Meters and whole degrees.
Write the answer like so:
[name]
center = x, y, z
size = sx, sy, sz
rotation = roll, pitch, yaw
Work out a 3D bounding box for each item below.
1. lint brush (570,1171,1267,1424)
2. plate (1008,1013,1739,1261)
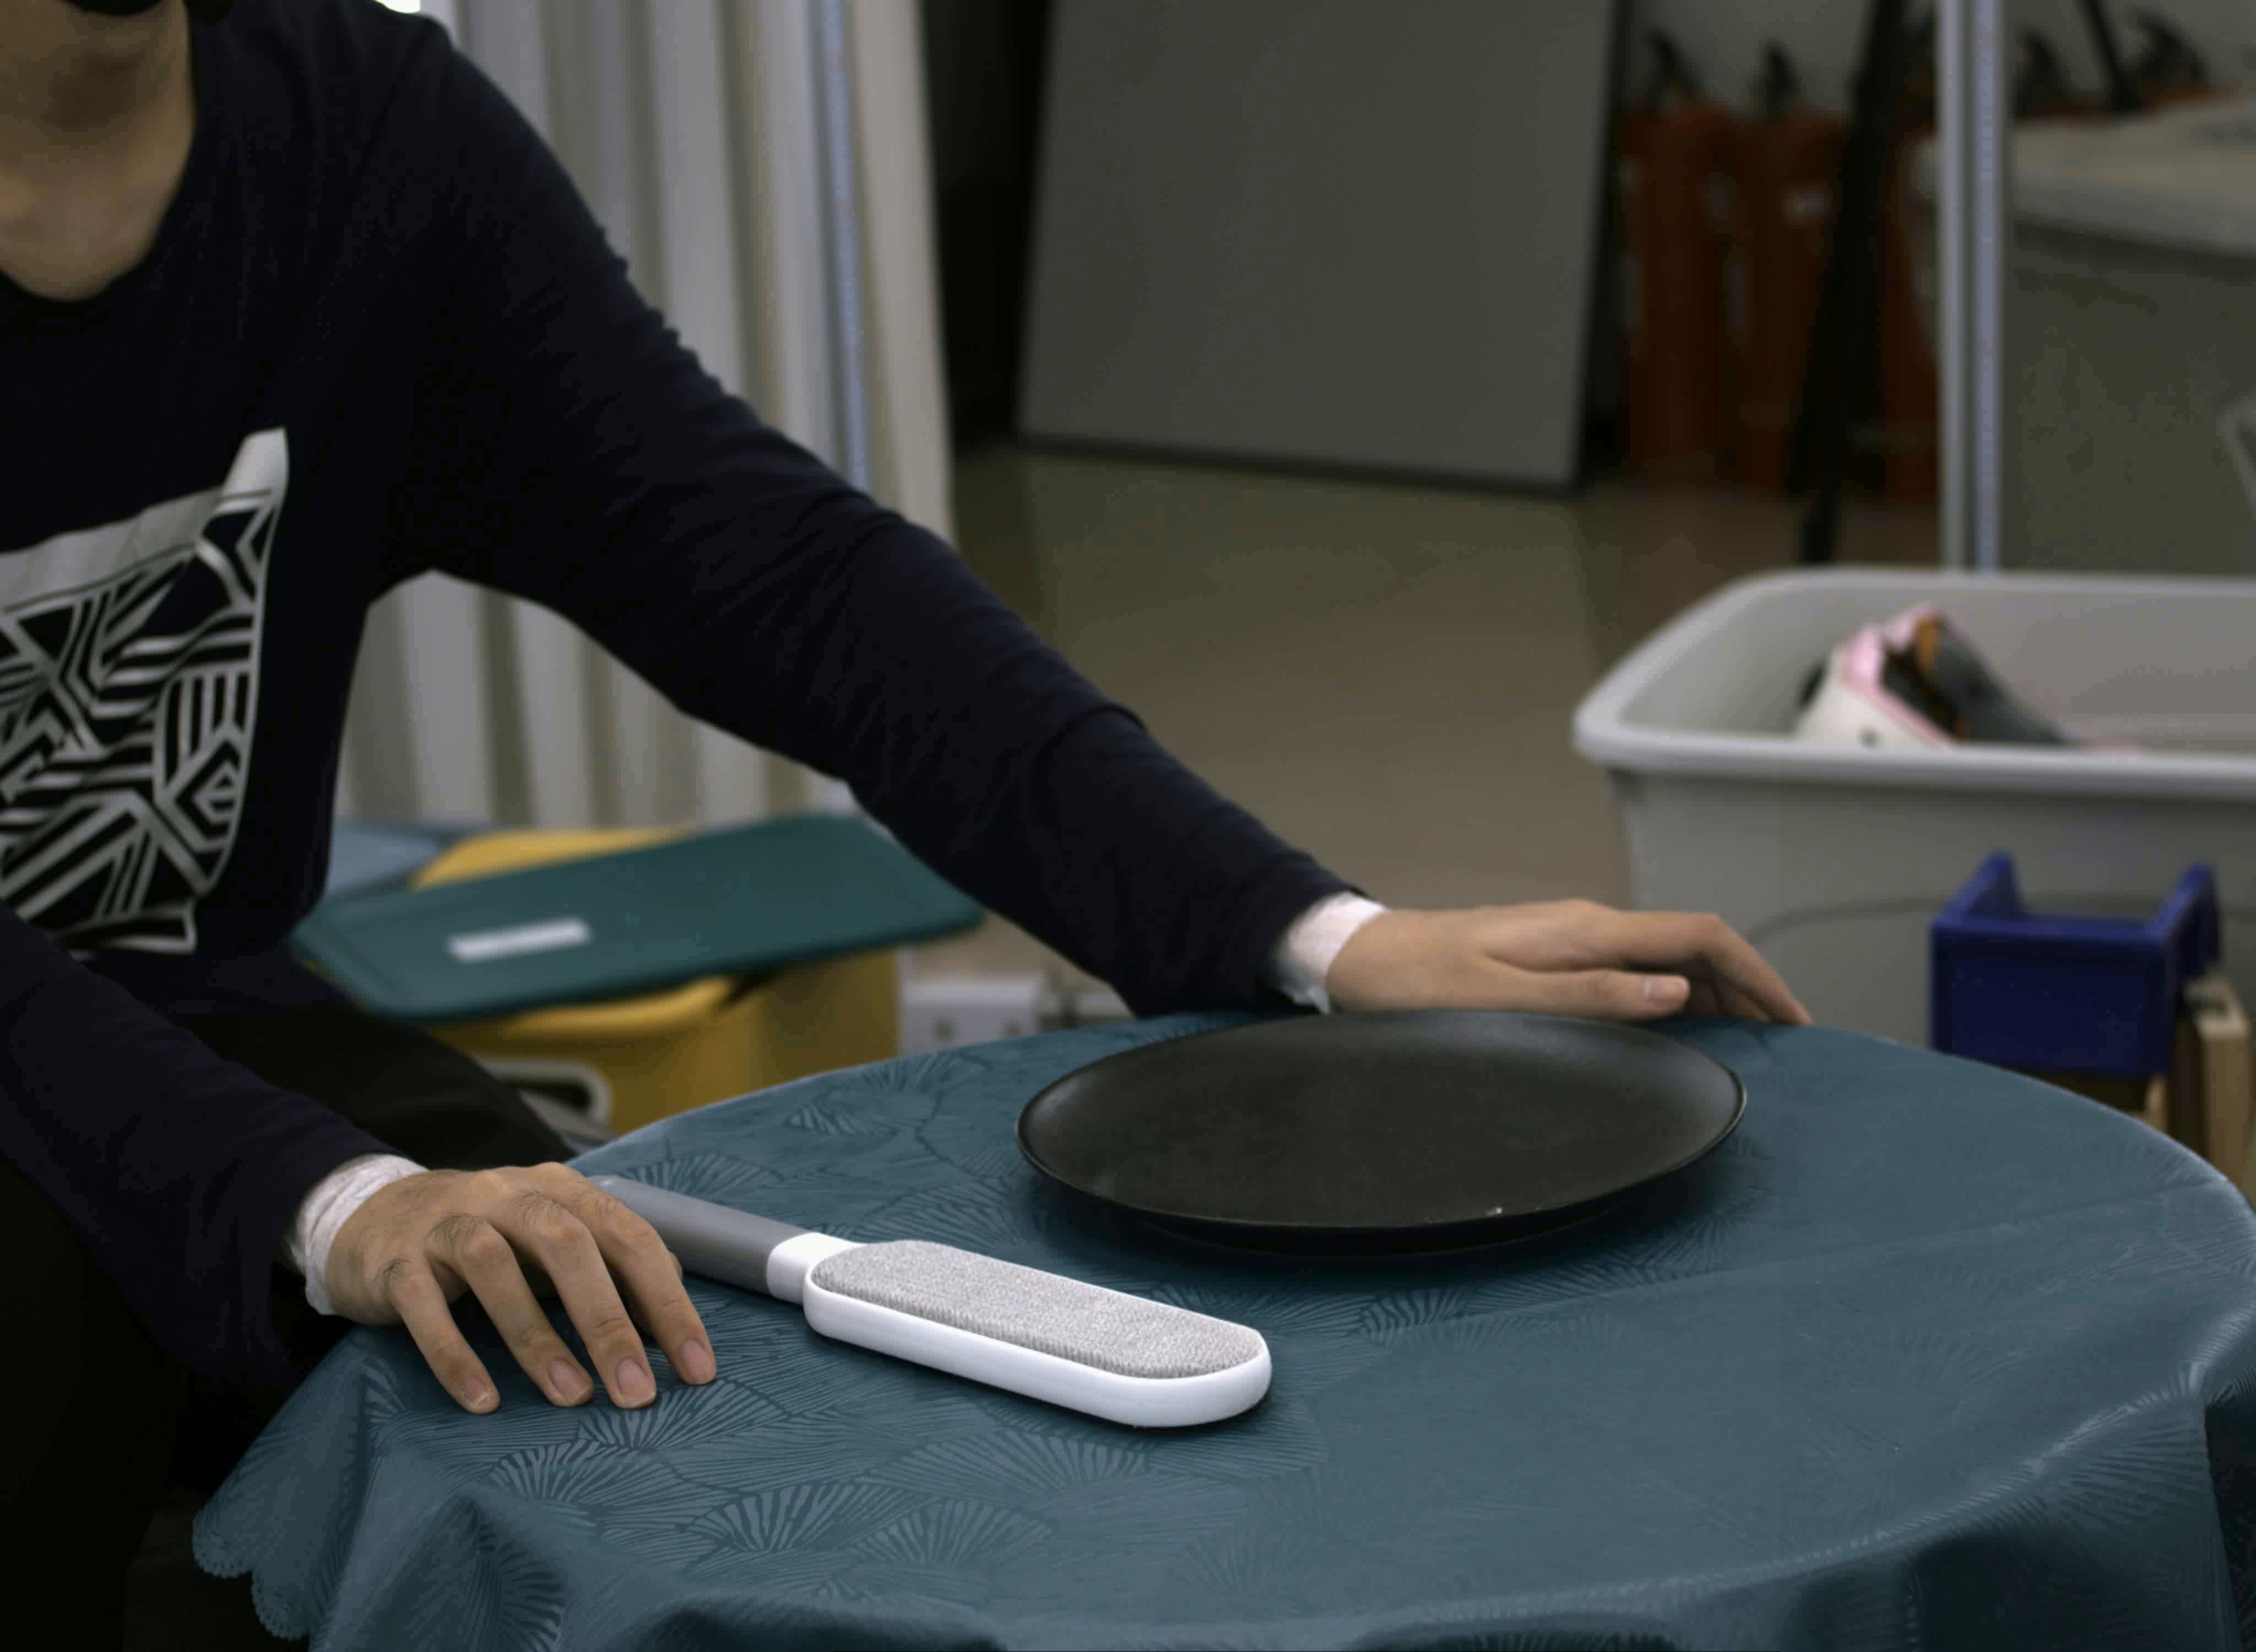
[lint brush]
center = -0.071, 0.141, 1.658
size = 0.059, 0.021, 0.312
rotation = -22, 22, -38
[plate]
center = 0.081, 0.104, 1.772
size = 0.241, 0.024, 0.245
rotation = -4, 13, 0
